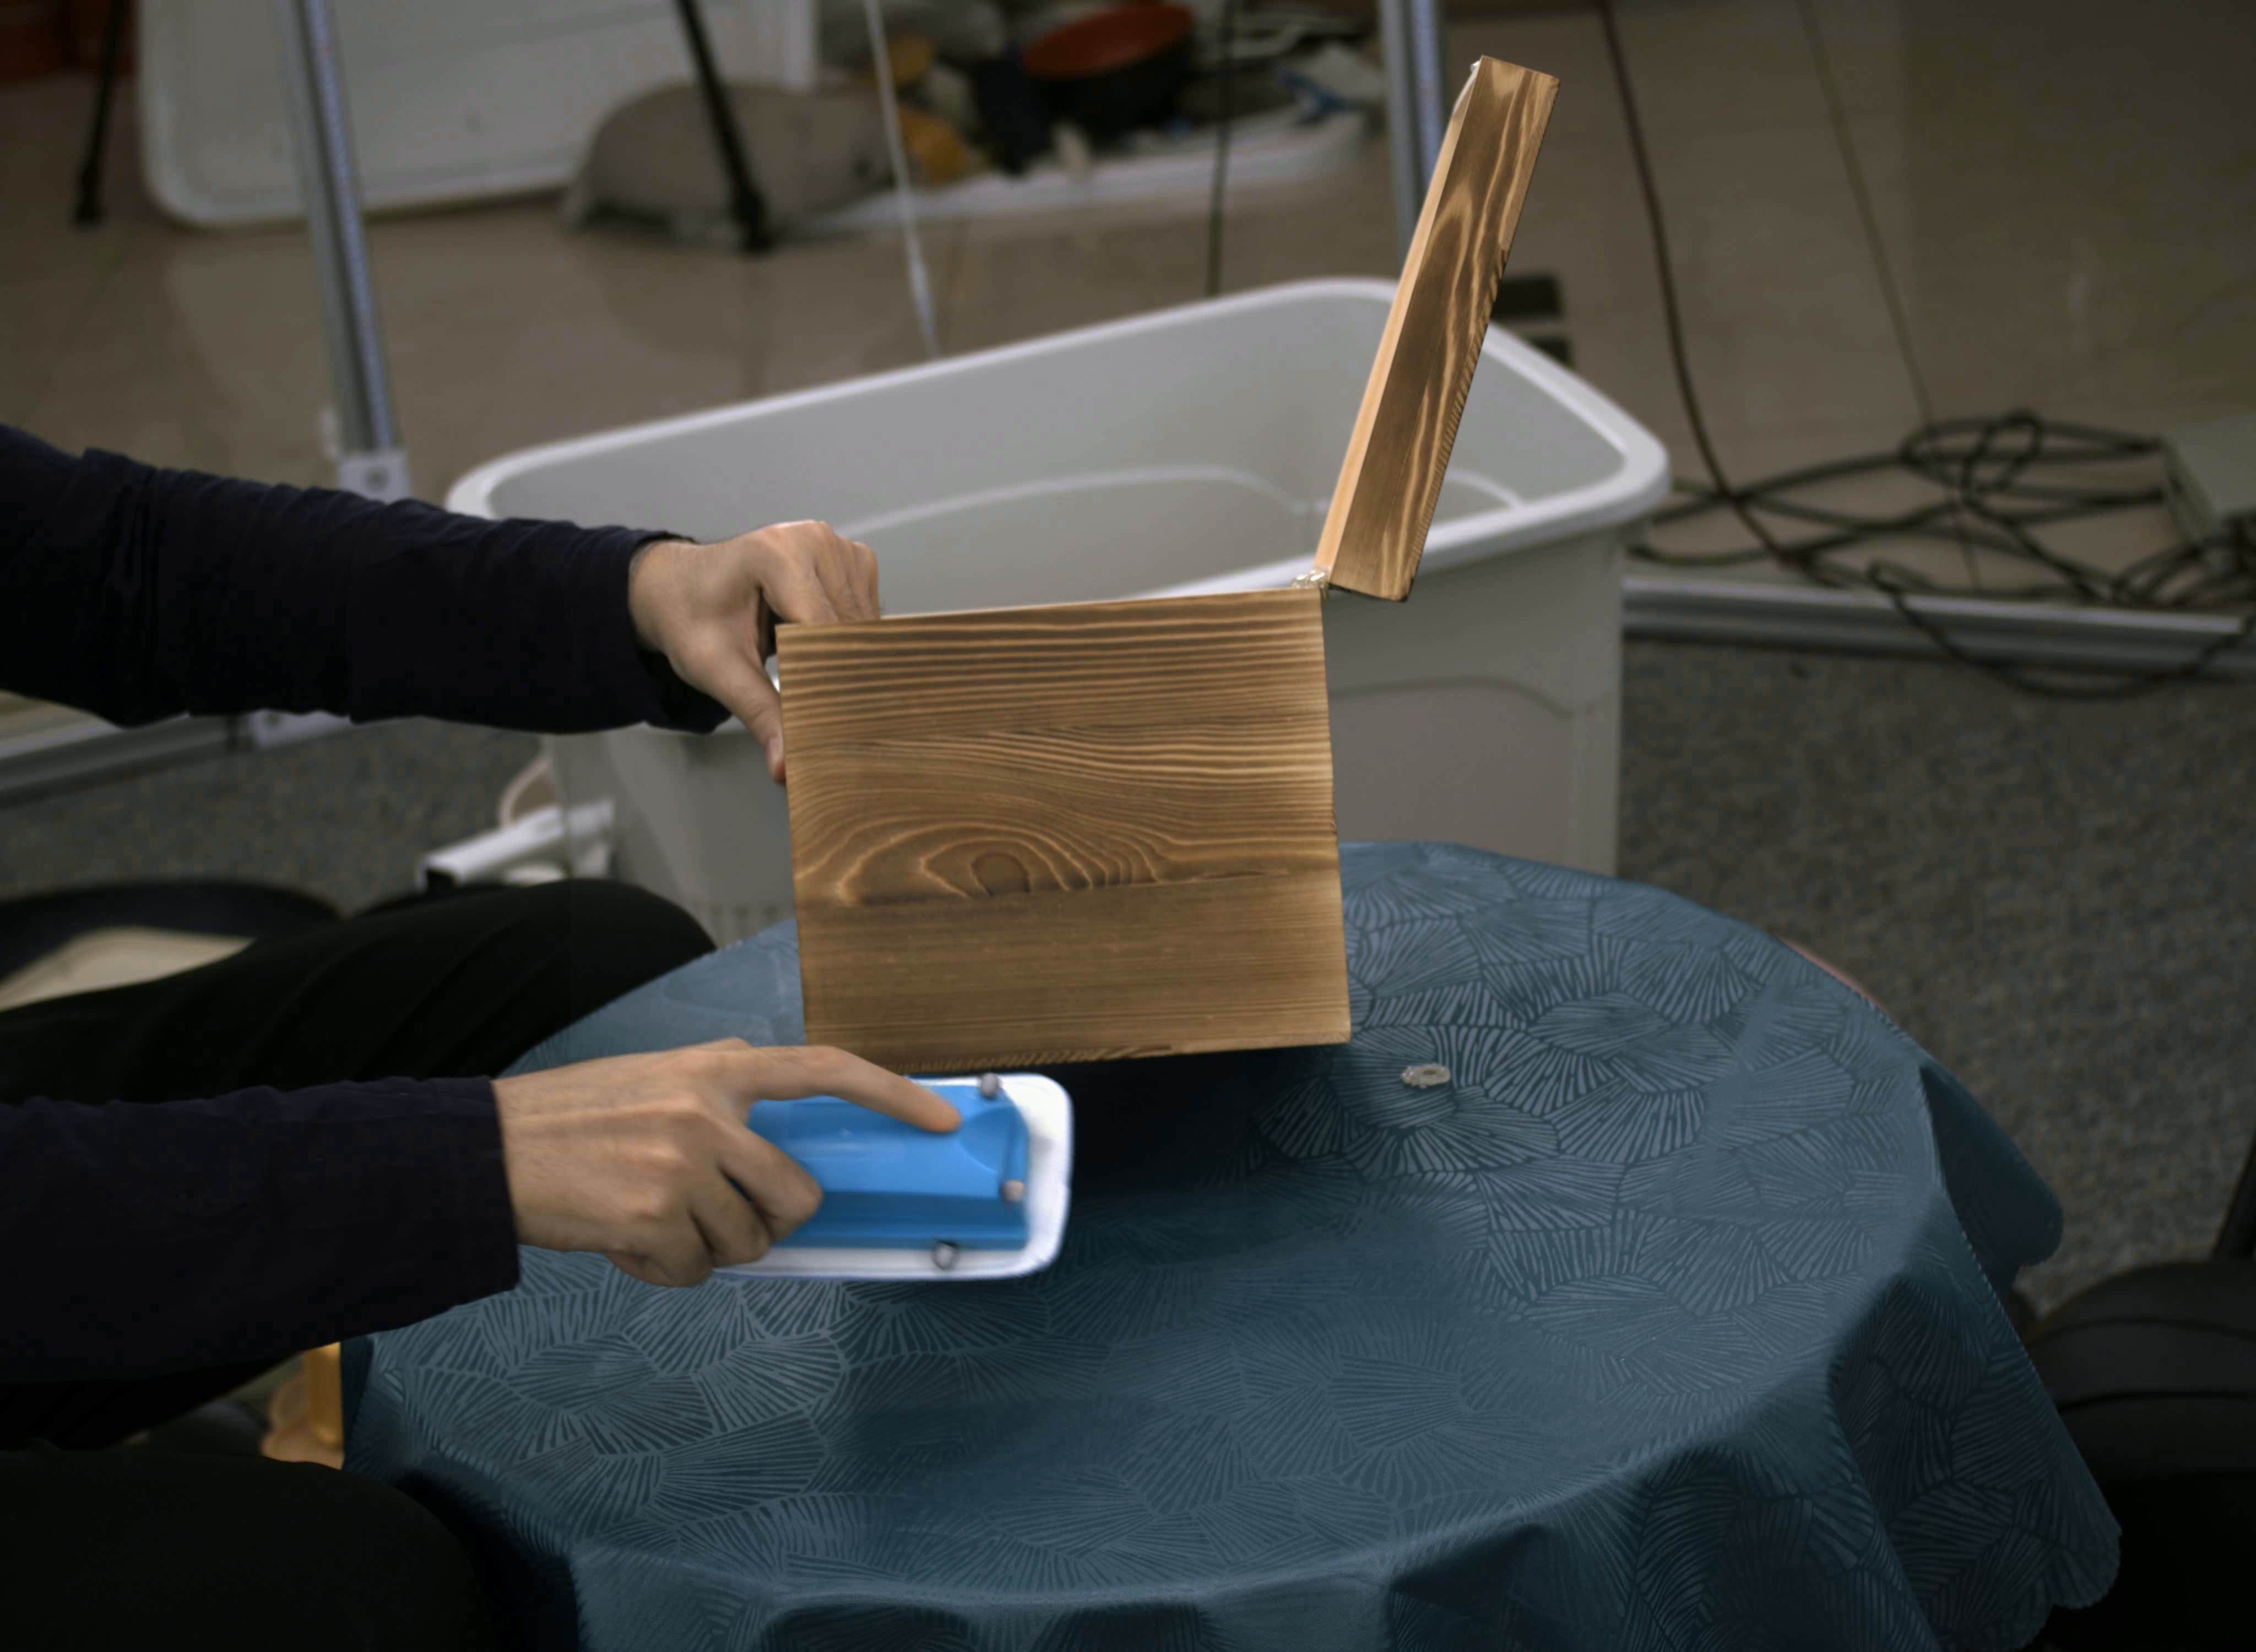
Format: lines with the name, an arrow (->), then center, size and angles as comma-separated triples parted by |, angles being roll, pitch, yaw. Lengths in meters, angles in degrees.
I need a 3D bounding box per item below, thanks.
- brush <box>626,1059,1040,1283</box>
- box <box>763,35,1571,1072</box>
brush -> -0.103, 0.116, 1.979 | 0.144, 0.057, 0.082 | 1, 59, 2
box -> 0.019, -0.102, 2.166 | 0.321, 0.377, 0.208 | -4, 3, 0
